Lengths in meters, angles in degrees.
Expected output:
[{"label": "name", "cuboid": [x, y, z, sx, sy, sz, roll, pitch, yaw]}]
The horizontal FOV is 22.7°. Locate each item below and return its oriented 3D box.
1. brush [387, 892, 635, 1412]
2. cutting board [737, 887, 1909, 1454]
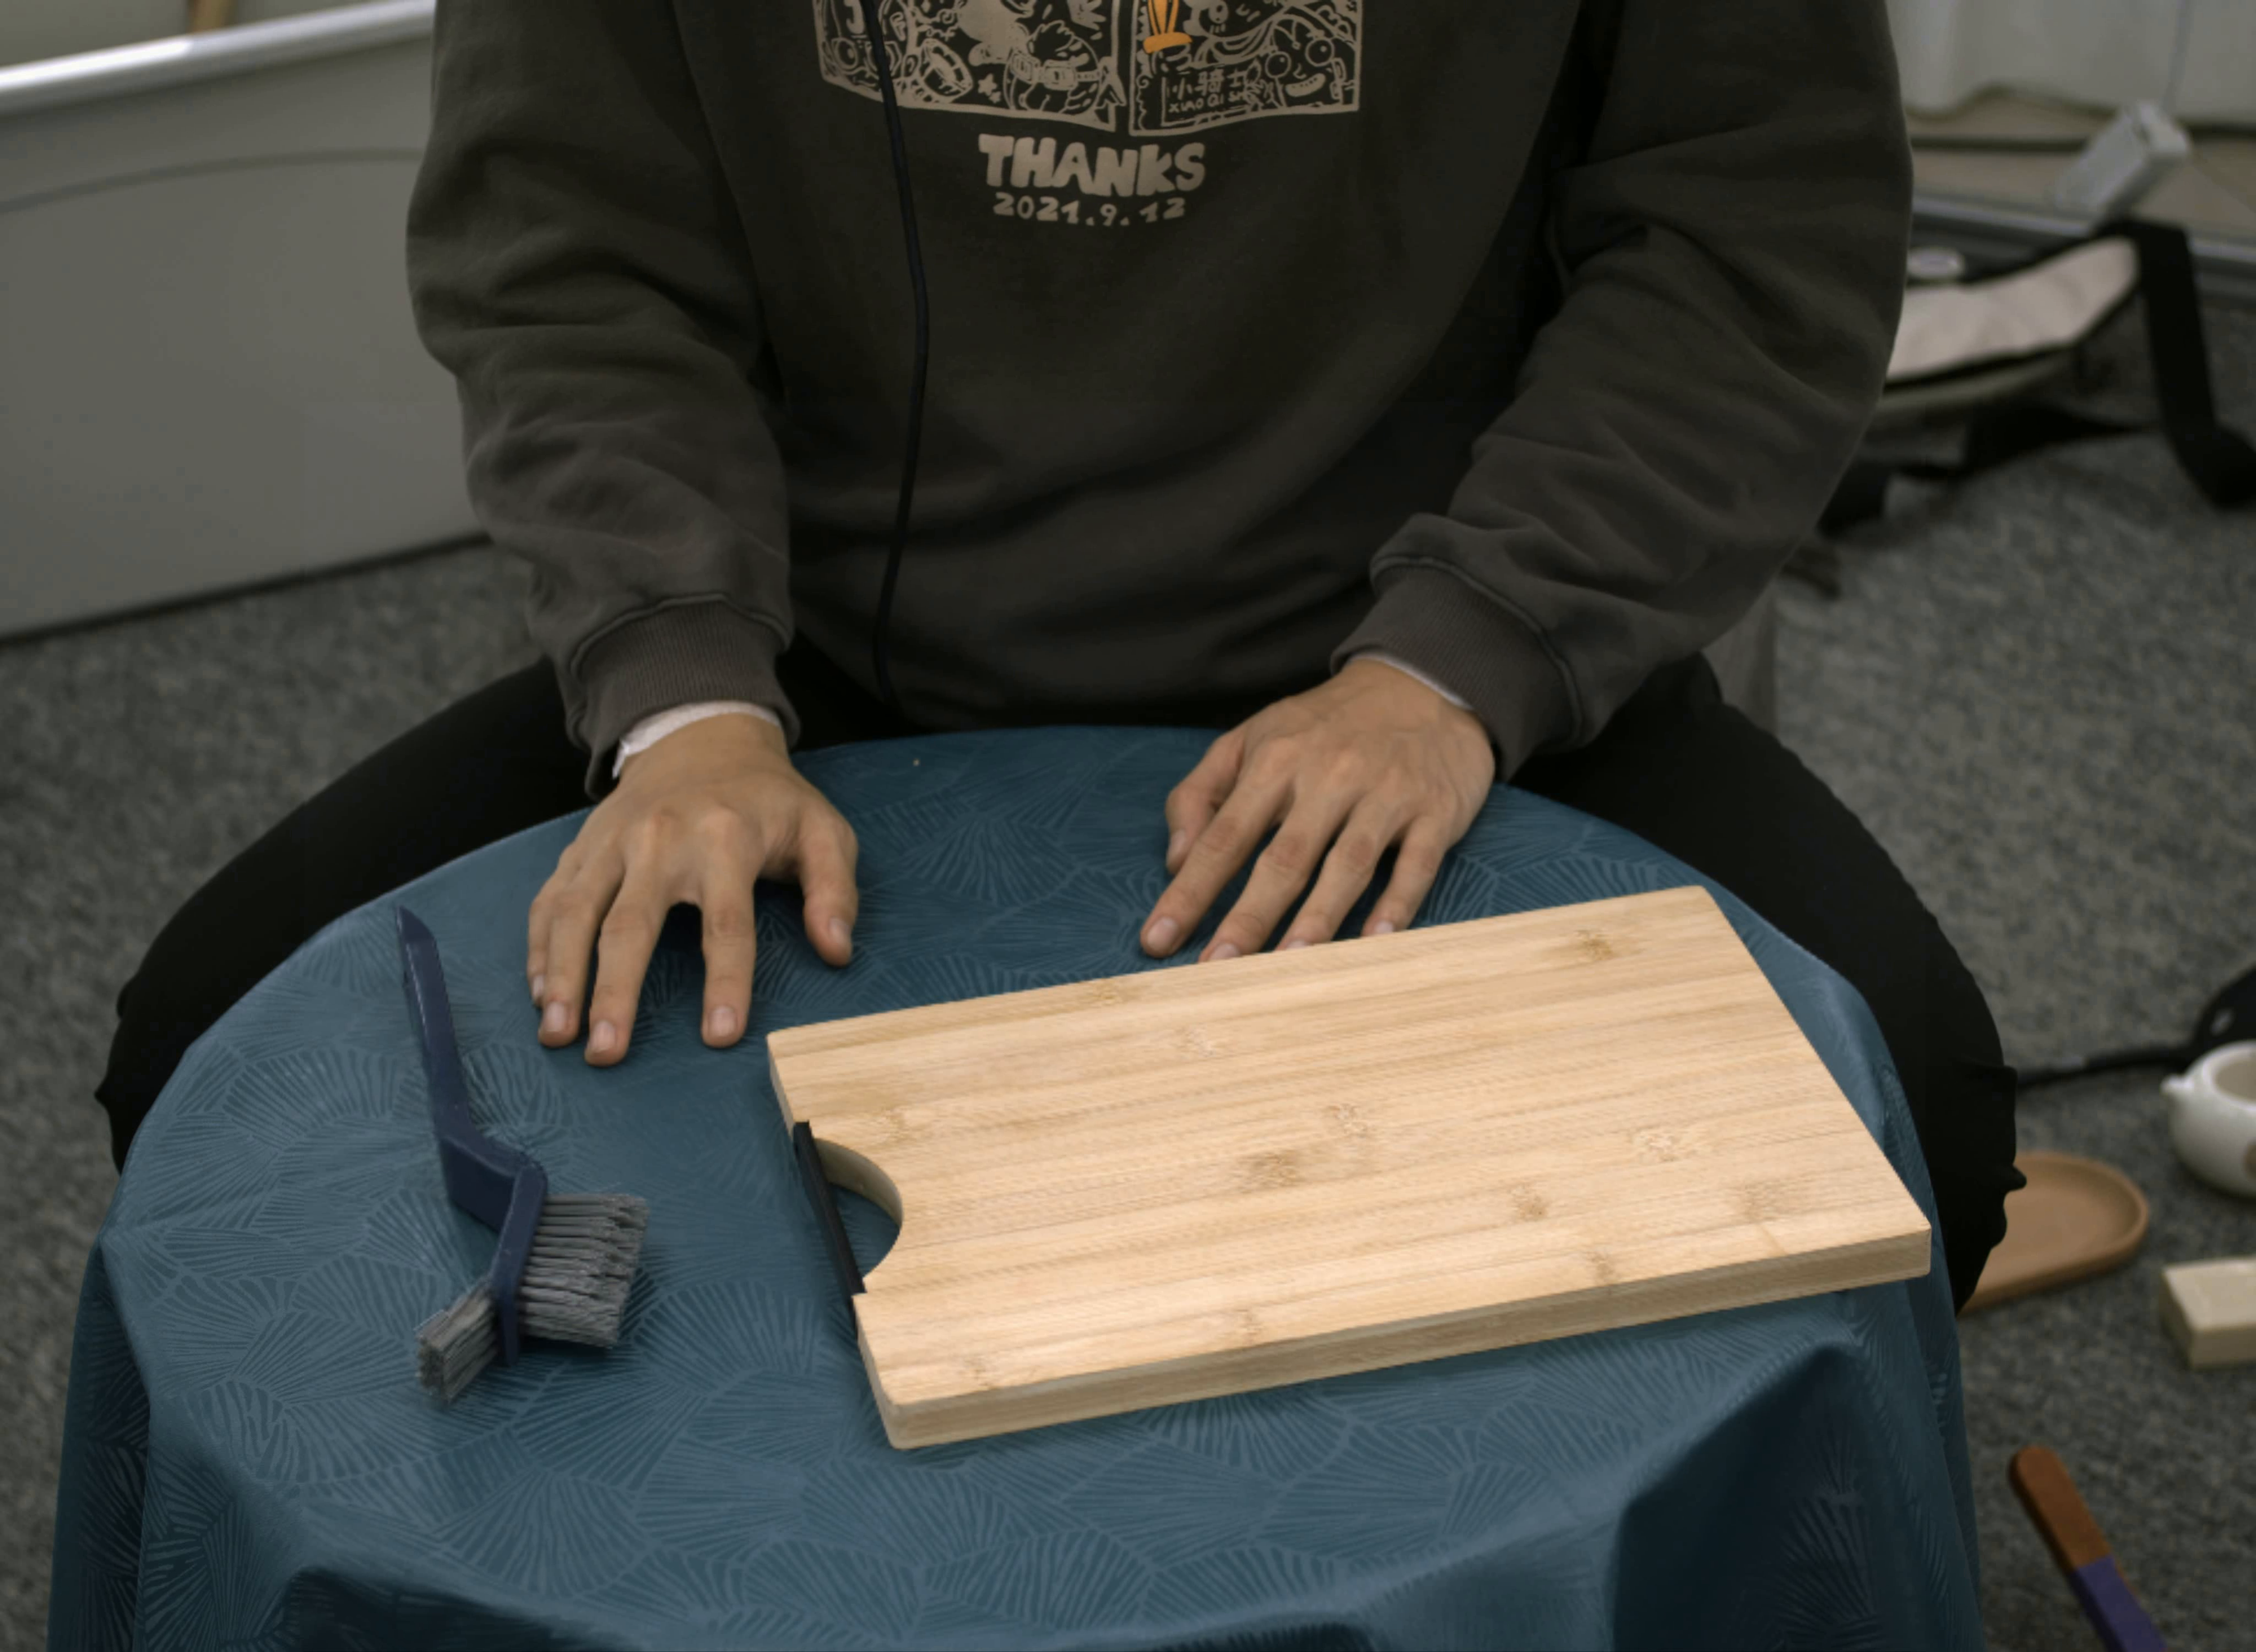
[{"label": "brush", "cuboid": [-0.231, 0.104, 1.883, 0.096, 0.033, 0.275, -12, 30, -16]}, {"label": "cutting board", "cuboid": [0.060, 0.109, 1.861, 0.348, 0.023, 0.253, -9, 28, -11]}]
